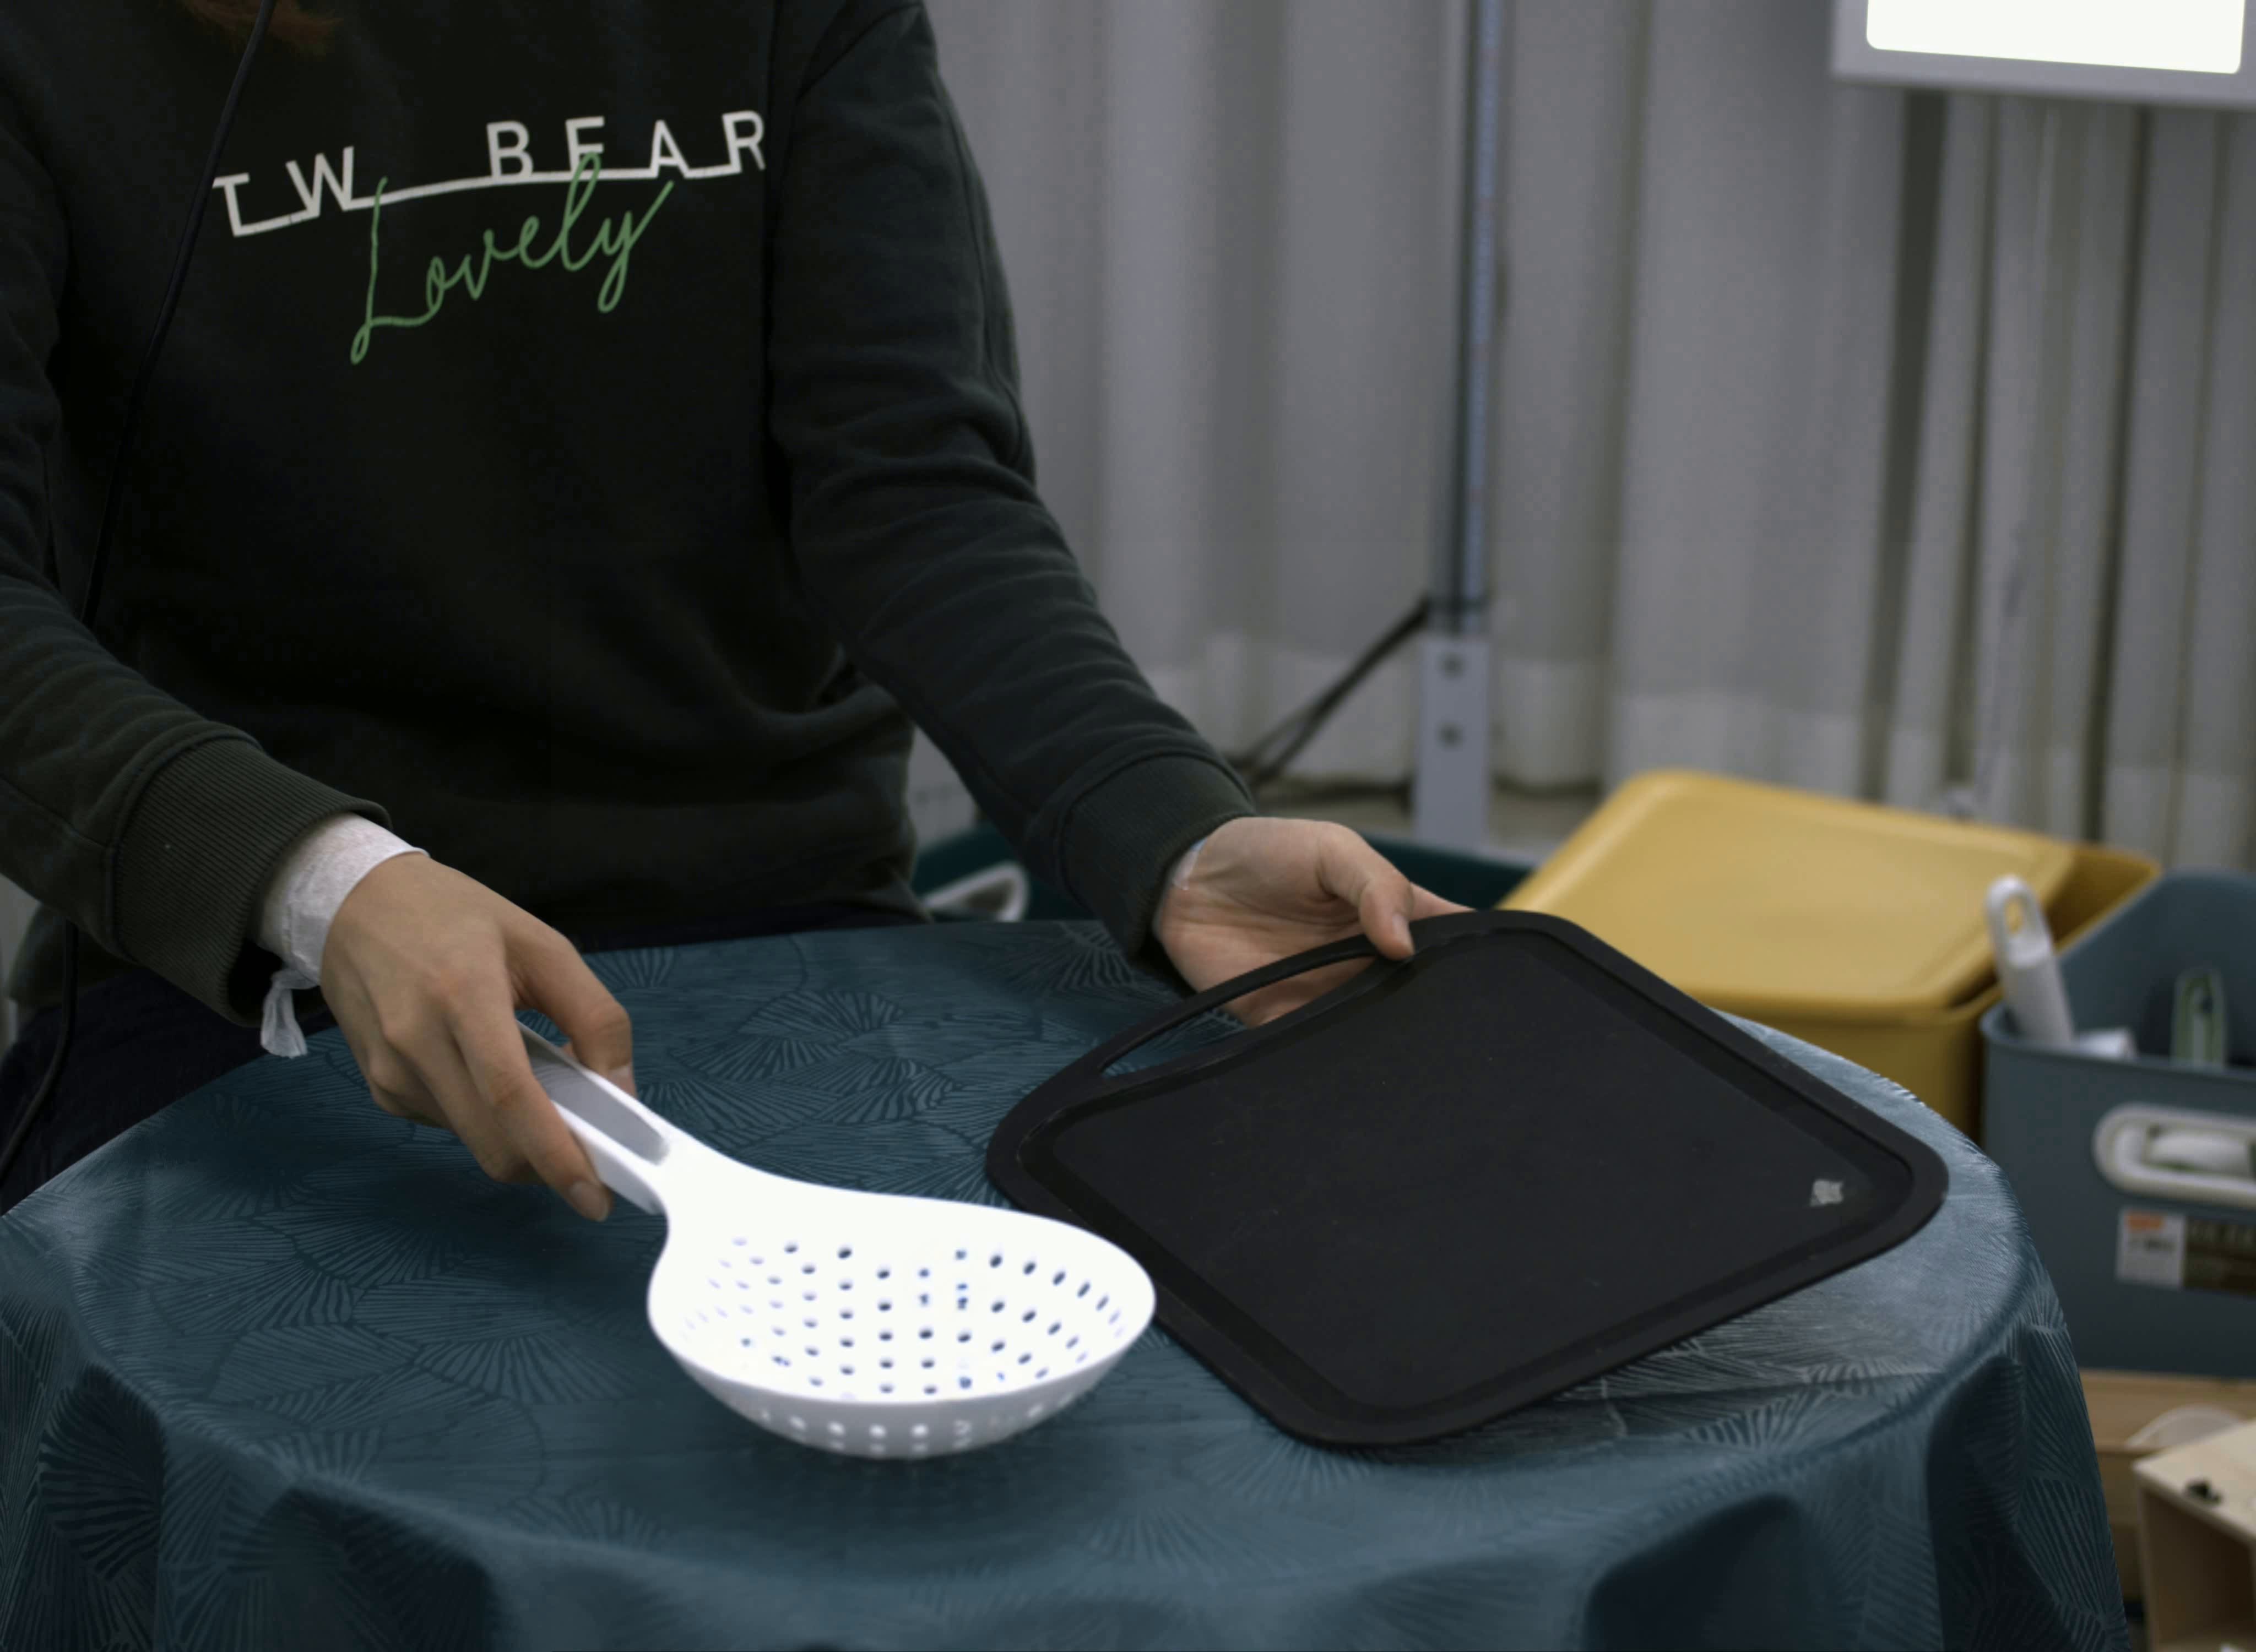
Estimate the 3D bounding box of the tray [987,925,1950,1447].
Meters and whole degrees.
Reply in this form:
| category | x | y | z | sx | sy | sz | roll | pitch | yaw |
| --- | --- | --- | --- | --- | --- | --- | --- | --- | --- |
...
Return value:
| category | x | y | z | sx | sy | sz | roll | pitch | yaw |
| --- | --- | --- | --- | --- | --- | --- | --- | --- | --- |
| tray | 0.089 | 0.097 | 1.572 | 0.211 | 0.010 | 0.321 | -21 | 23 | -17 |

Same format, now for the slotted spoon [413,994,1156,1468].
| category | x | y | z | sx | sy | sz | roll | pitch | yaw |
| --- | --- | --- | --- | --- | --- | --- | --- | --- | --- |
| slotted spoon | -0.119 | 0.107 | 1.498 | 0.136 | 0.046 | 0.345 | -10 | 26 | -32 |
